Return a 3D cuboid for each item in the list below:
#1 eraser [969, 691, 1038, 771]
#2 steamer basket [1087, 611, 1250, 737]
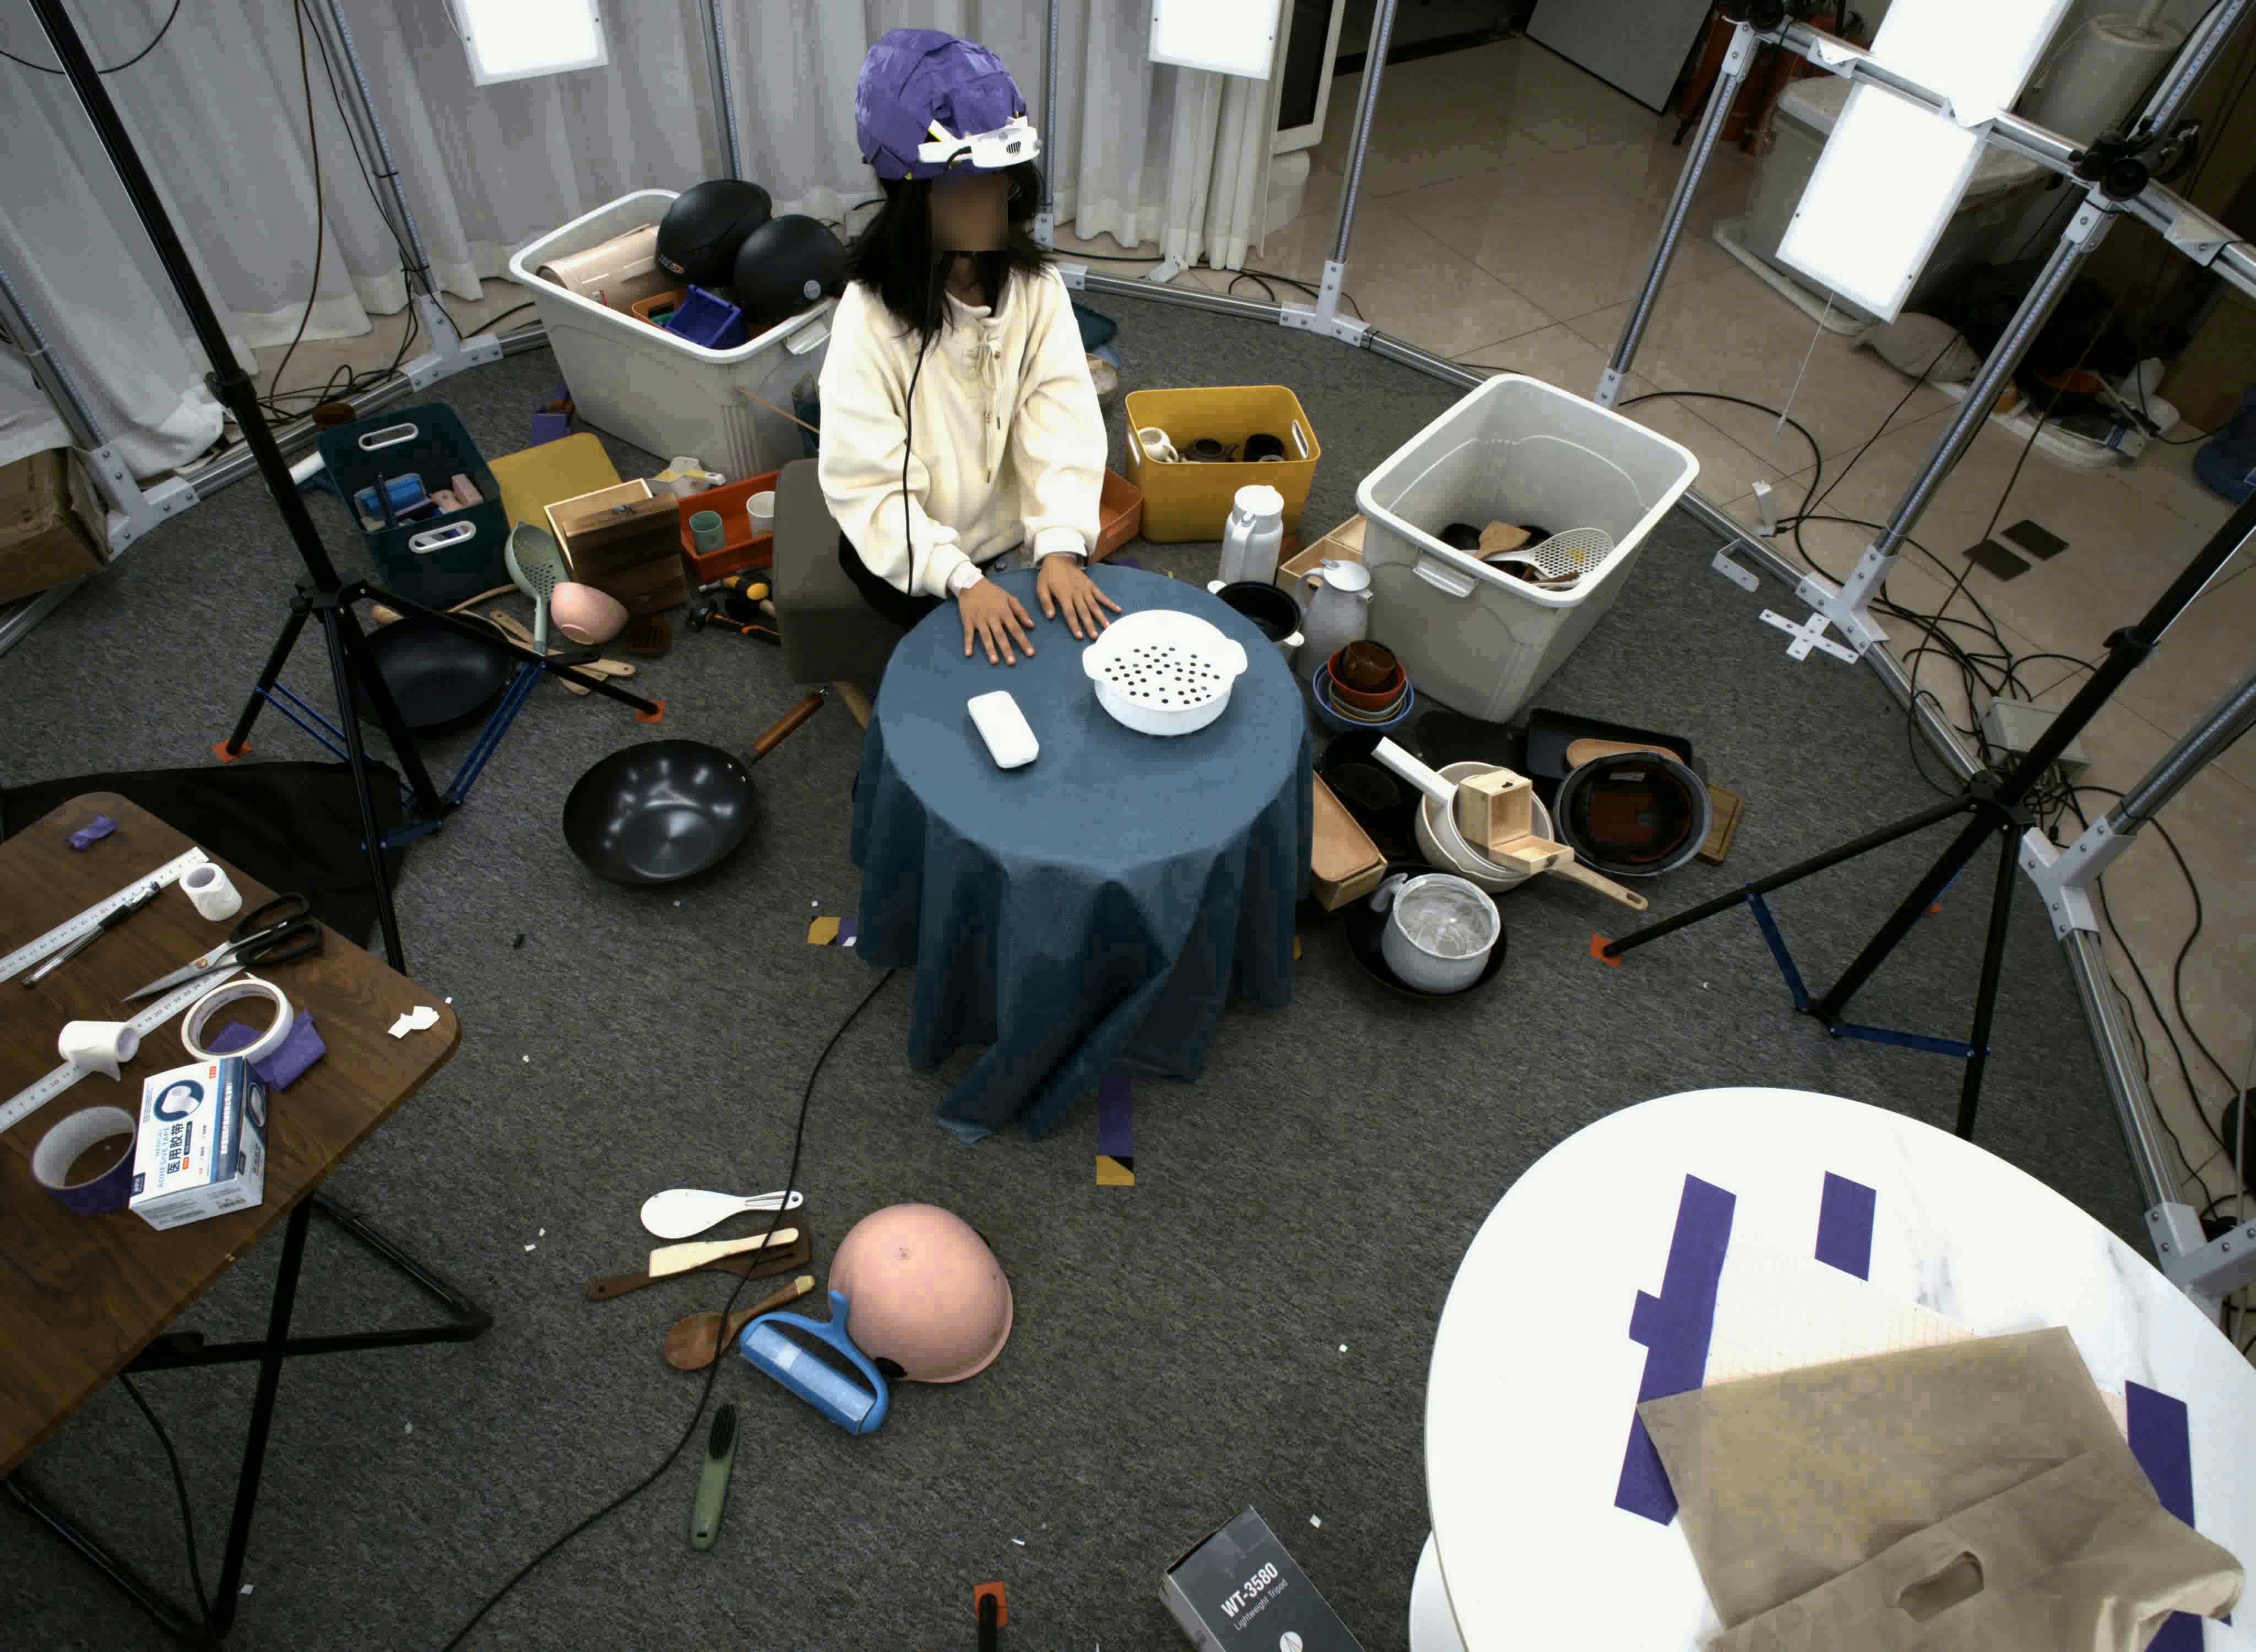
[{"bbox_3d":[-0.170,-0.133,1.754,0.063,0.034,0.134,-16,53,-17],"label":"eraser"},{"bbox_3d":[0.055,-0.215,1.817,0.230,0.067,0.207,-3,49,-8],"label":"steamer basket"}]
